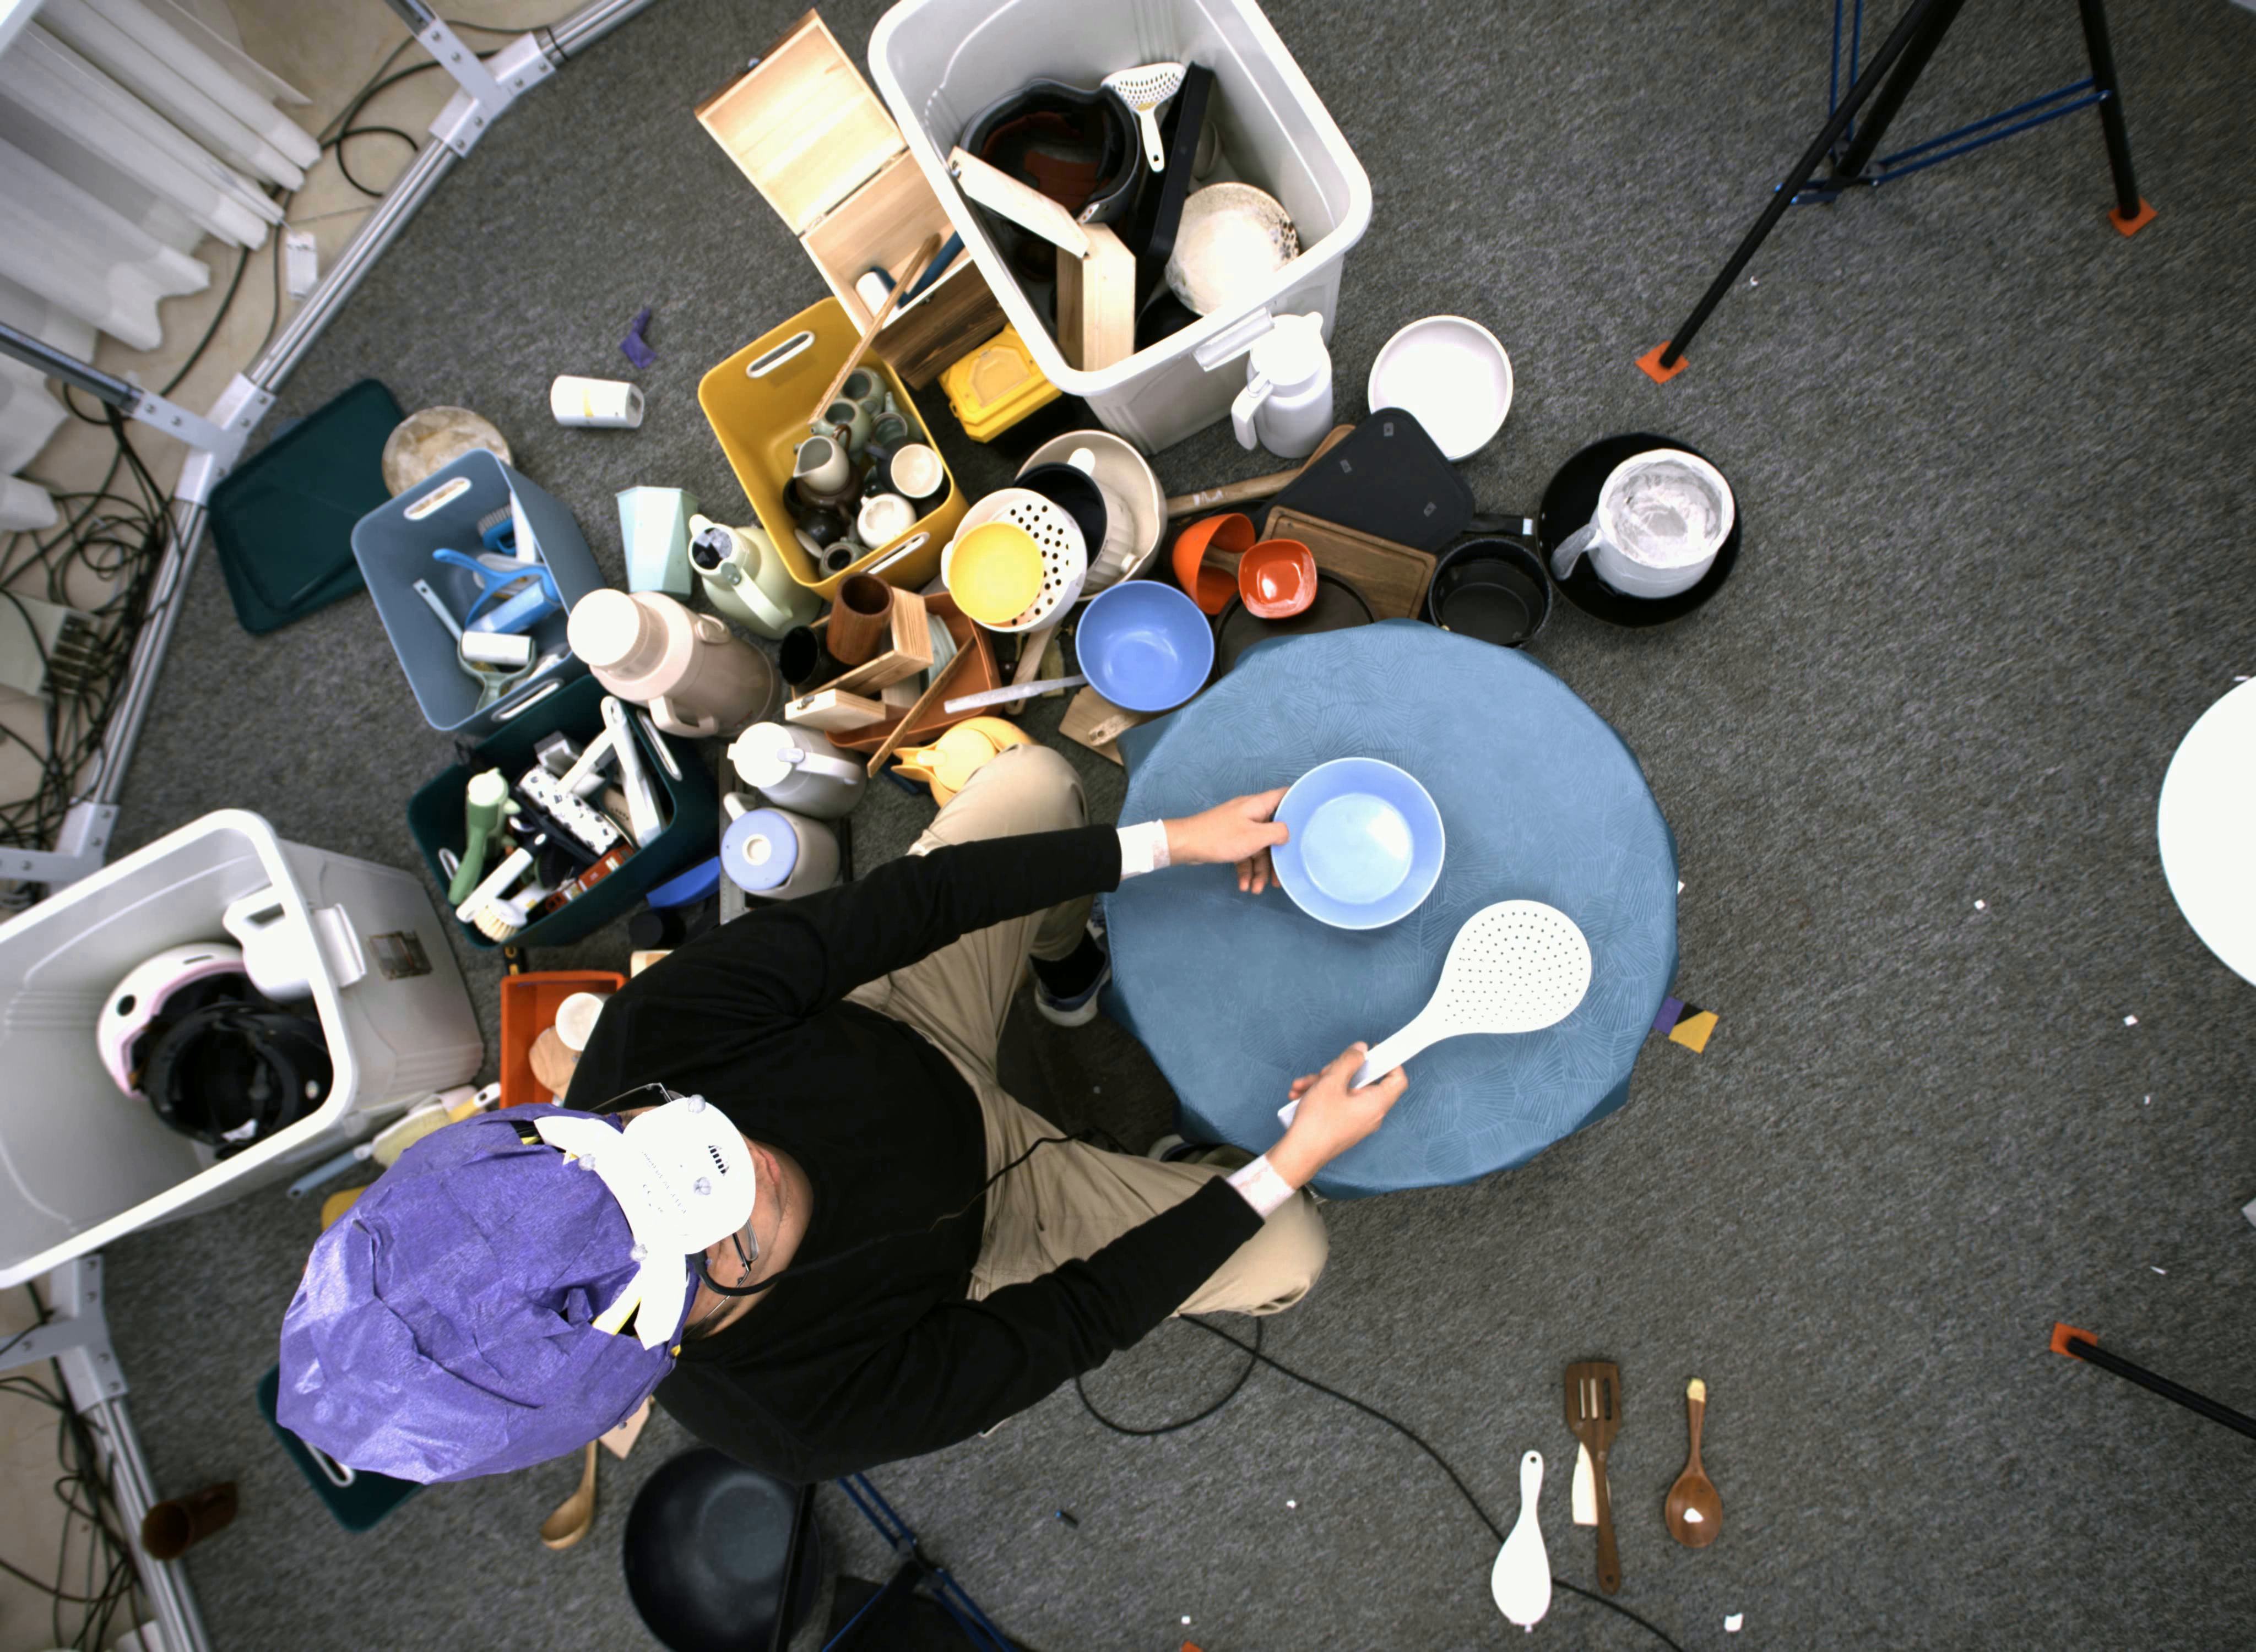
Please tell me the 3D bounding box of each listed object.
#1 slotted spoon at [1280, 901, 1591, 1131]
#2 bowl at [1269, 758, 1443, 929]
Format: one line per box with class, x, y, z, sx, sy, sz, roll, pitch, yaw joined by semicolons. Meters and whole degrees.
slotted spoon;0.303;0.199;1.380;0.349;0.046;0.134;-32;64;-4
bowl;0.237;0.020;1.433;0.177;0.070;0.175;-1;86;11
